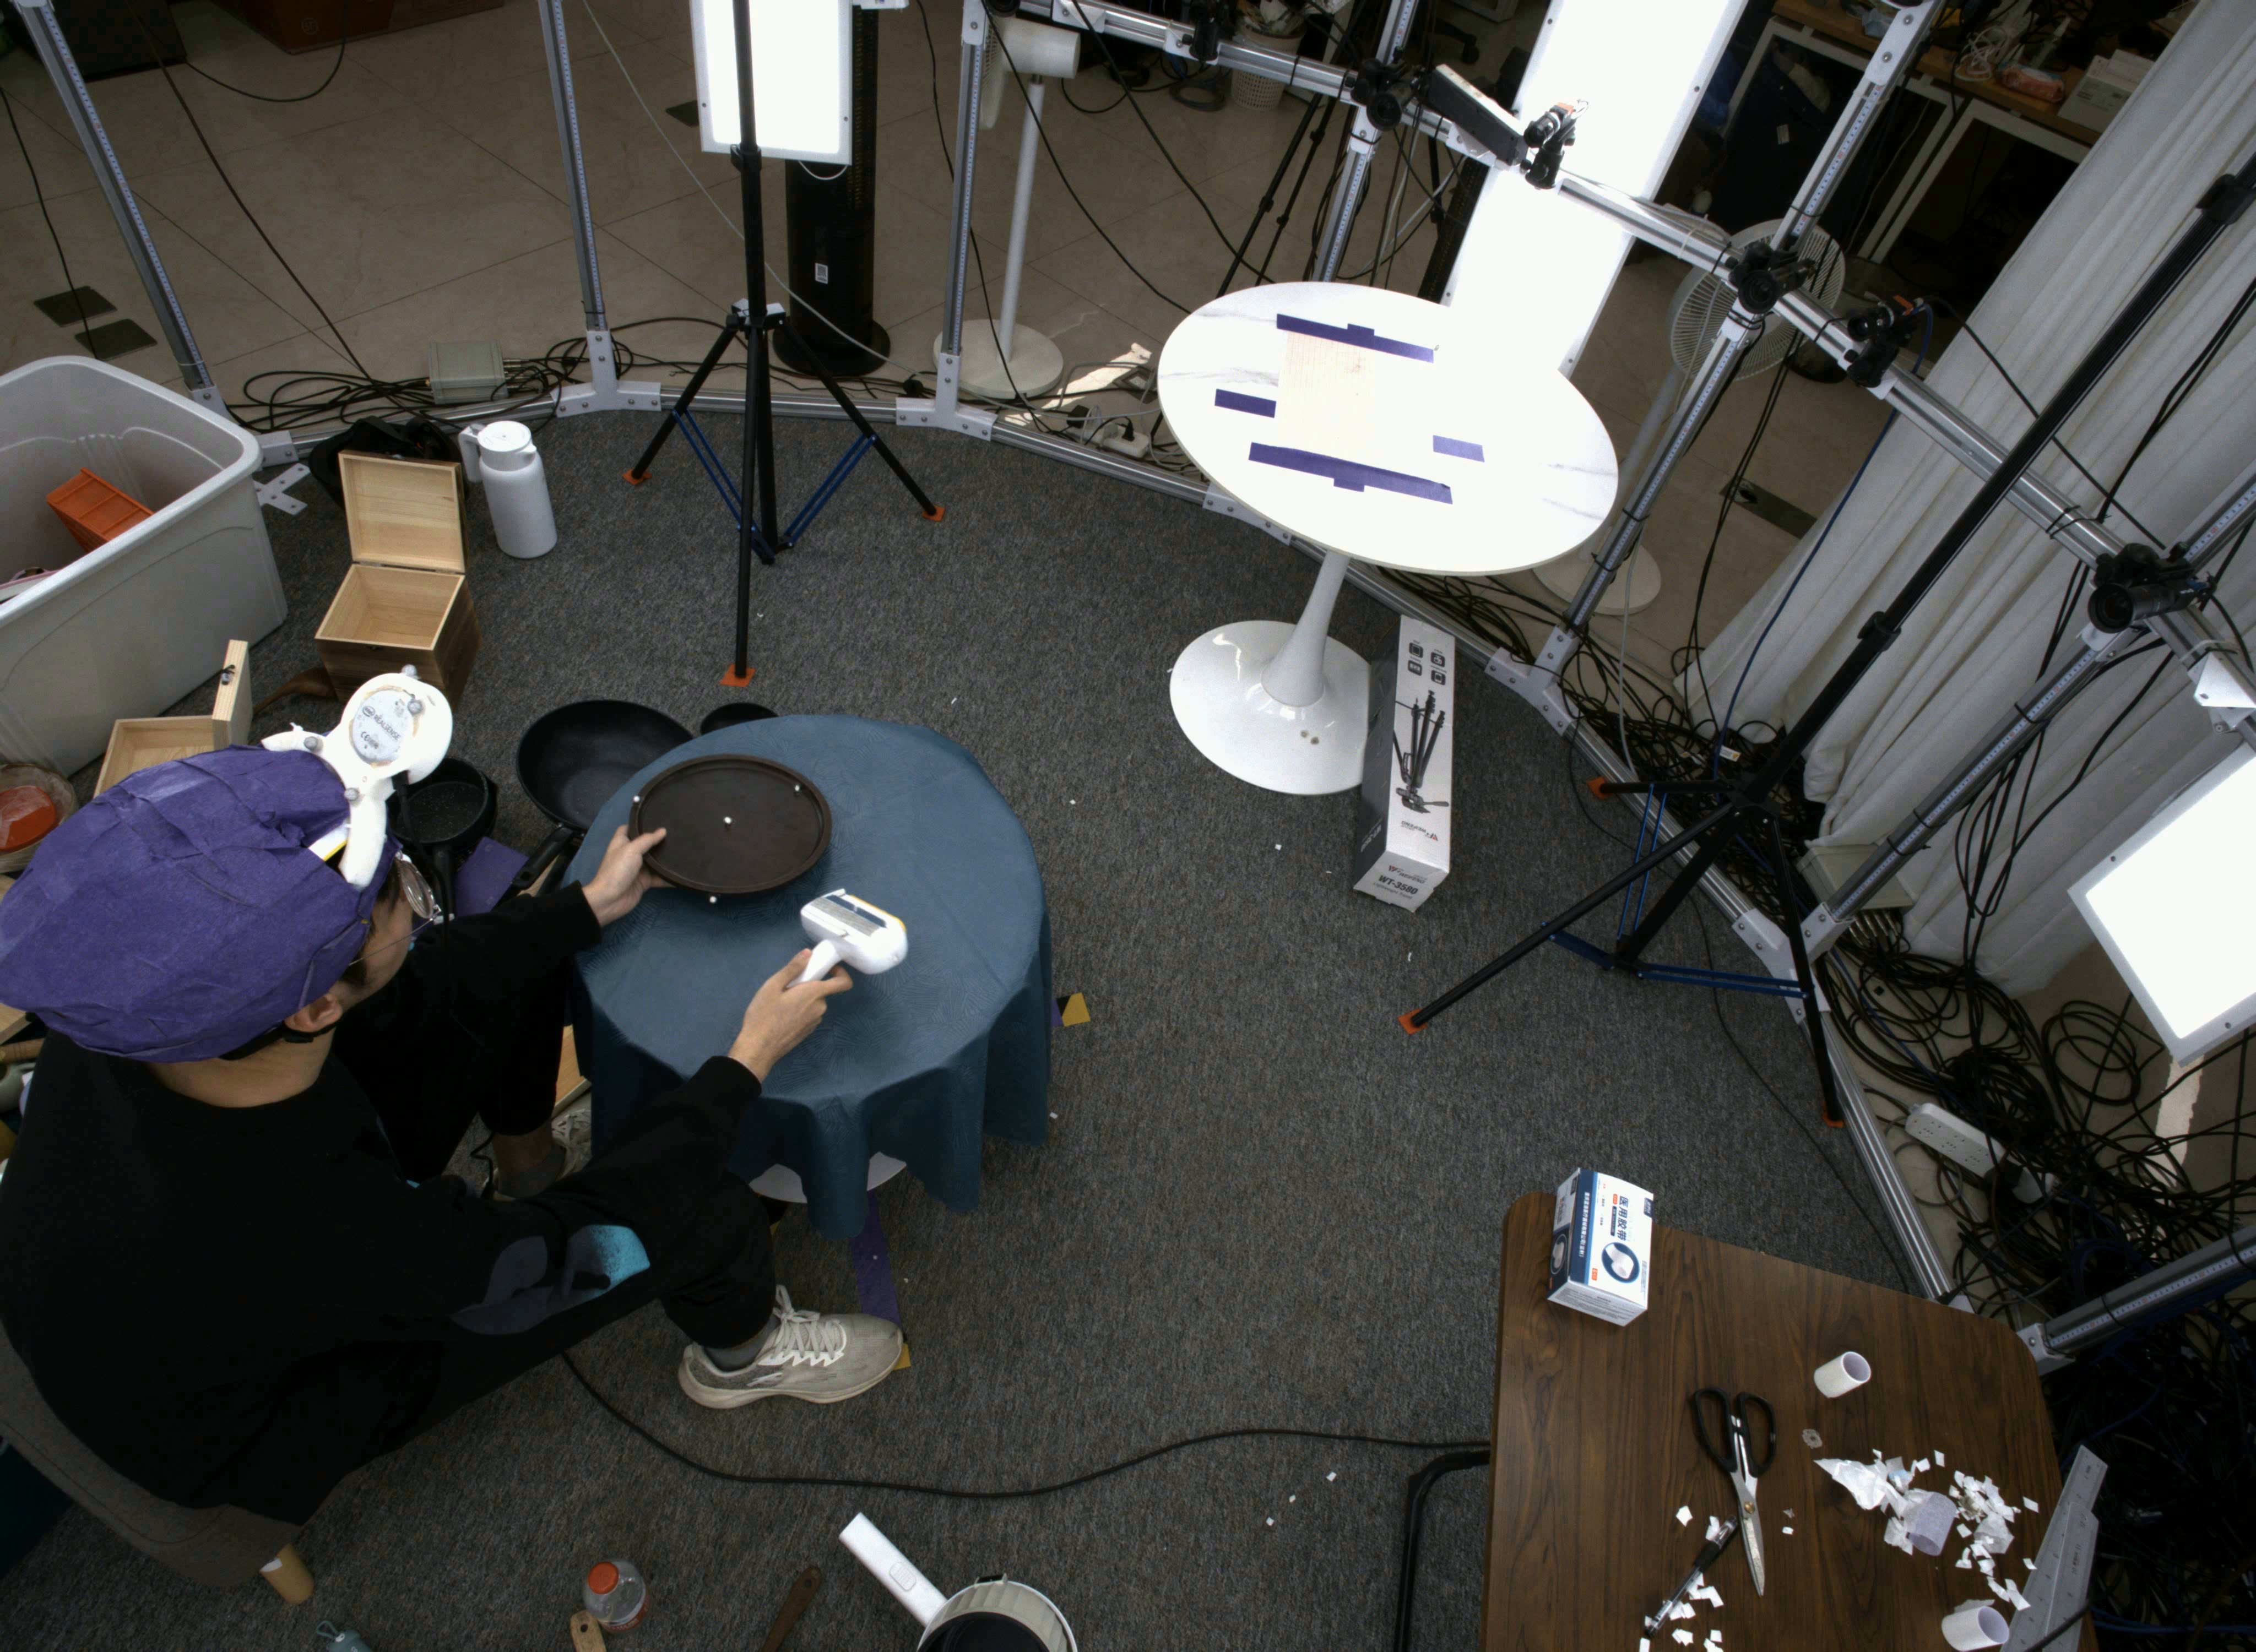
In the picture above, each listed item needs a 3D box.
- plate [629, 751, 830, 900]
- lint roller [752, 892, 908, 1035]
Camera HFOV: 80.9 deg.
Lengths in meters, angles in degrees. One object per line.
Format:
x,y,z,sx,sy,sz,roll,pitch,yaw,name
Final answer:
-0.510,-0.004,1.657,0.254,0.029,0.250,9,46,-8,plate
-0.365,0.161,1.518,0.192,0.077,0.185,-37,35,-22,lint roller
